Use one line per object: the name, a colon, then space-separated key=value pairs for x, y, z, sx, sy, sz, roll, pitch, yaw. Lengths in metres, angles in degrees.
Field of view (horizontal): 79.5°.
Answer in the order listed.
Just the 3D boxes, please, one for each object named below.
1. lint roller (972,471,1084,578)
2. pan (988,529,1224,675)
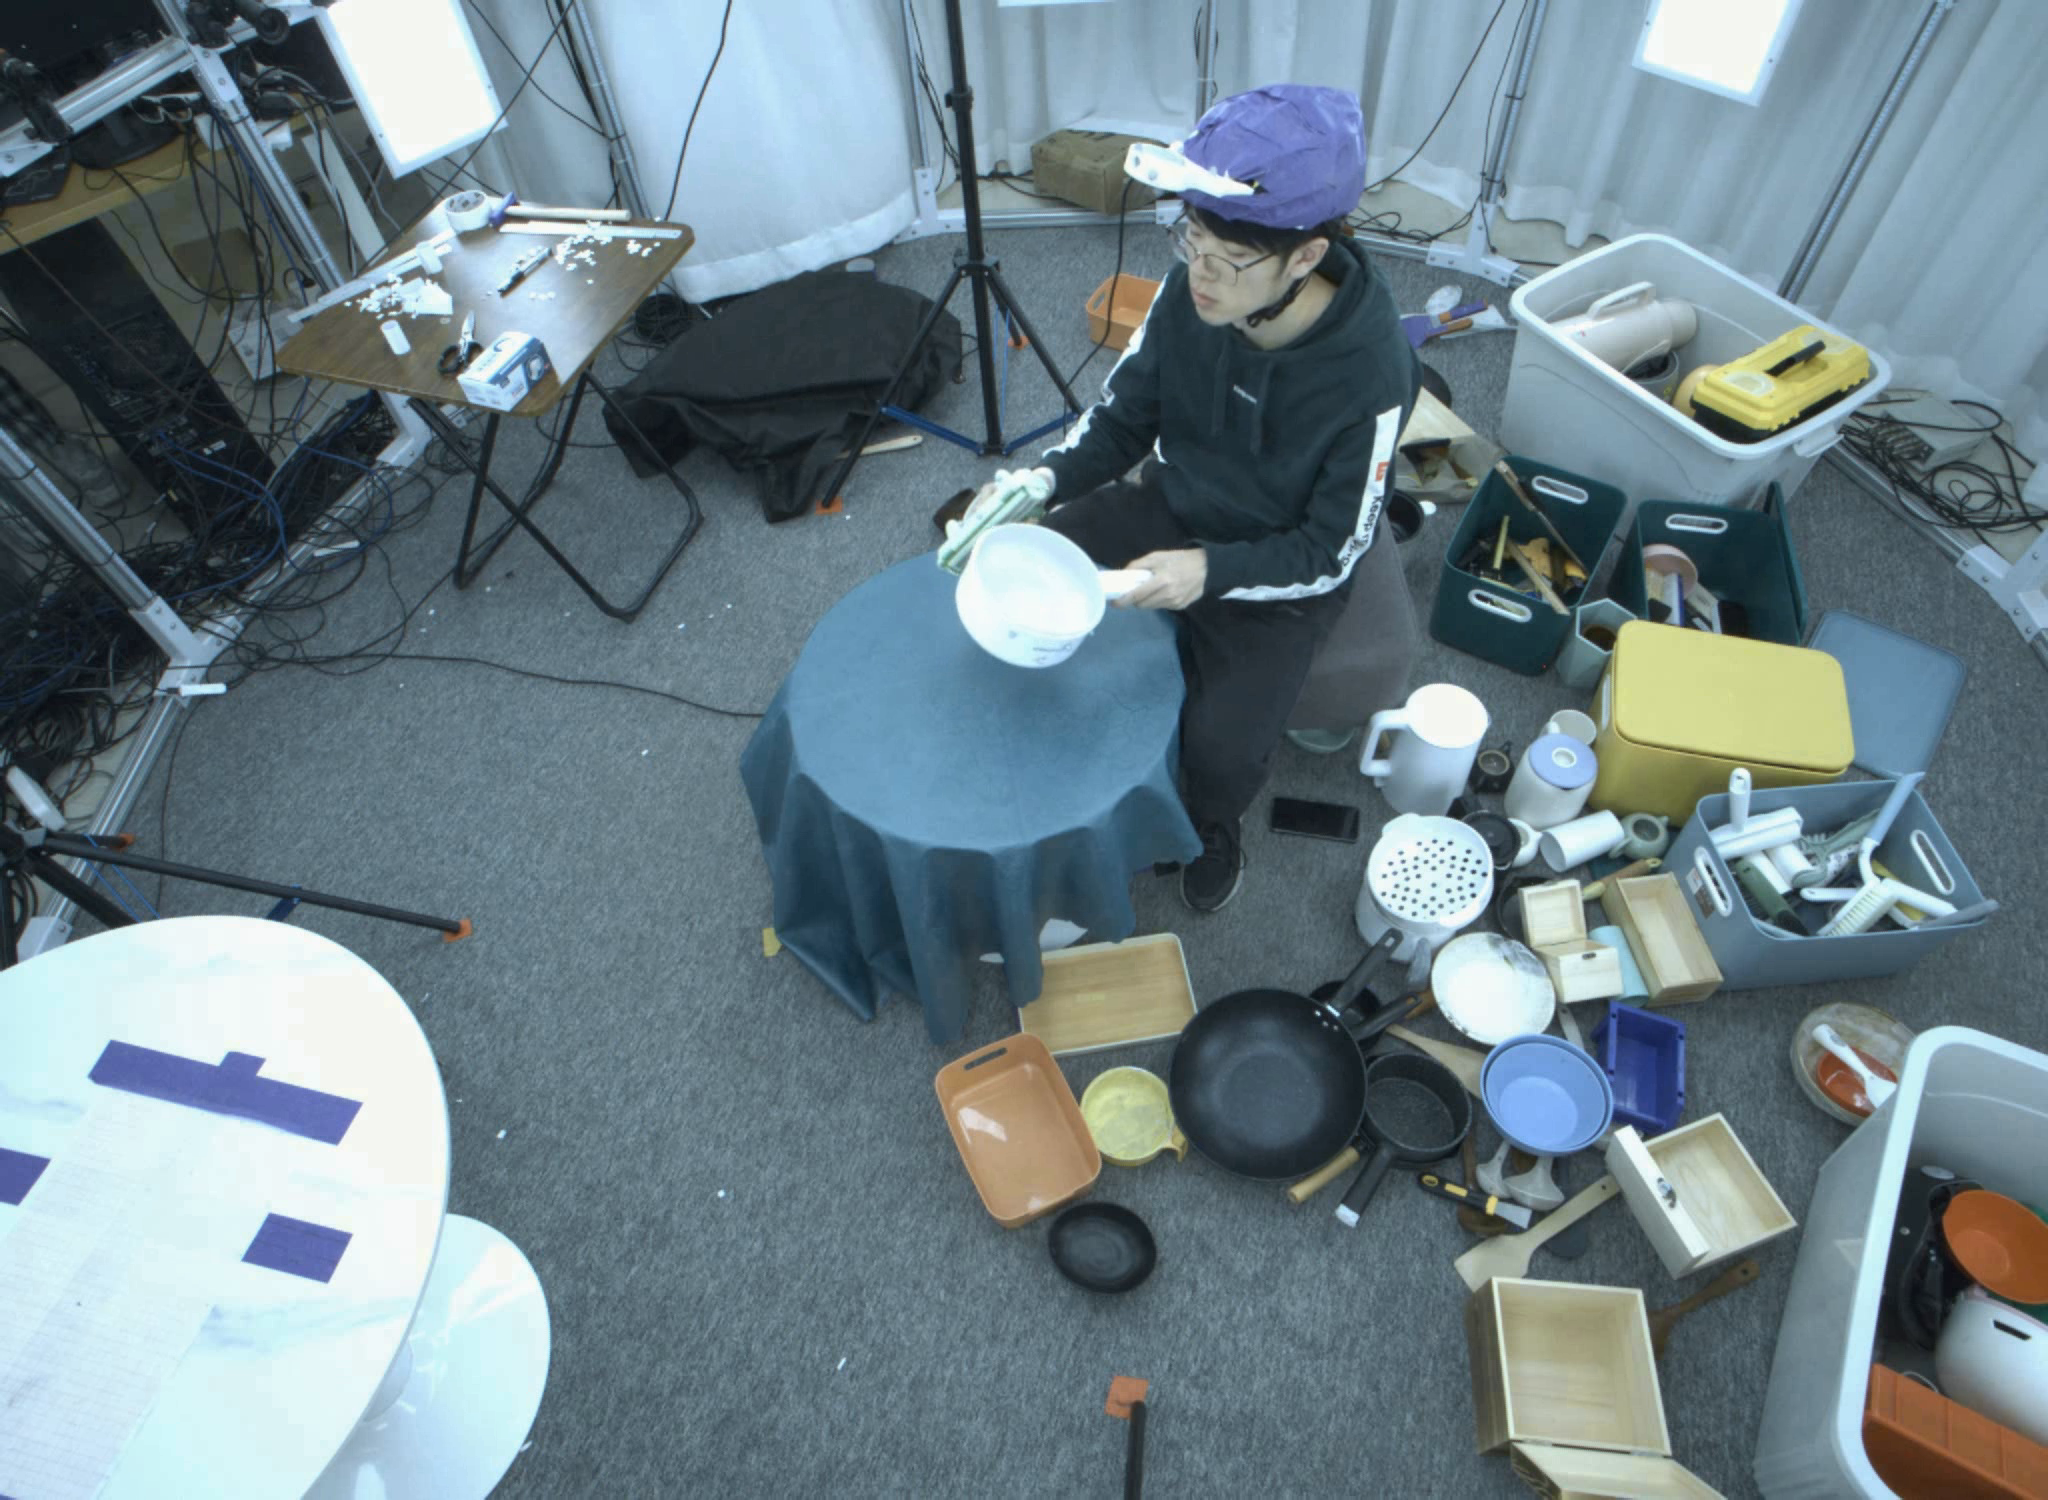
lint roller: x=0.019 y=-0.351 z=1.795 sx=0.082 sy=0.196 sz=0.184 roll=48 pitch=36 yaw=-5
pan: x=0.116 y=-0.206 z=1.756 sx=0.361 sy=0.101 sz=0.198 roll=-4 pitch=61 yaw=-30
